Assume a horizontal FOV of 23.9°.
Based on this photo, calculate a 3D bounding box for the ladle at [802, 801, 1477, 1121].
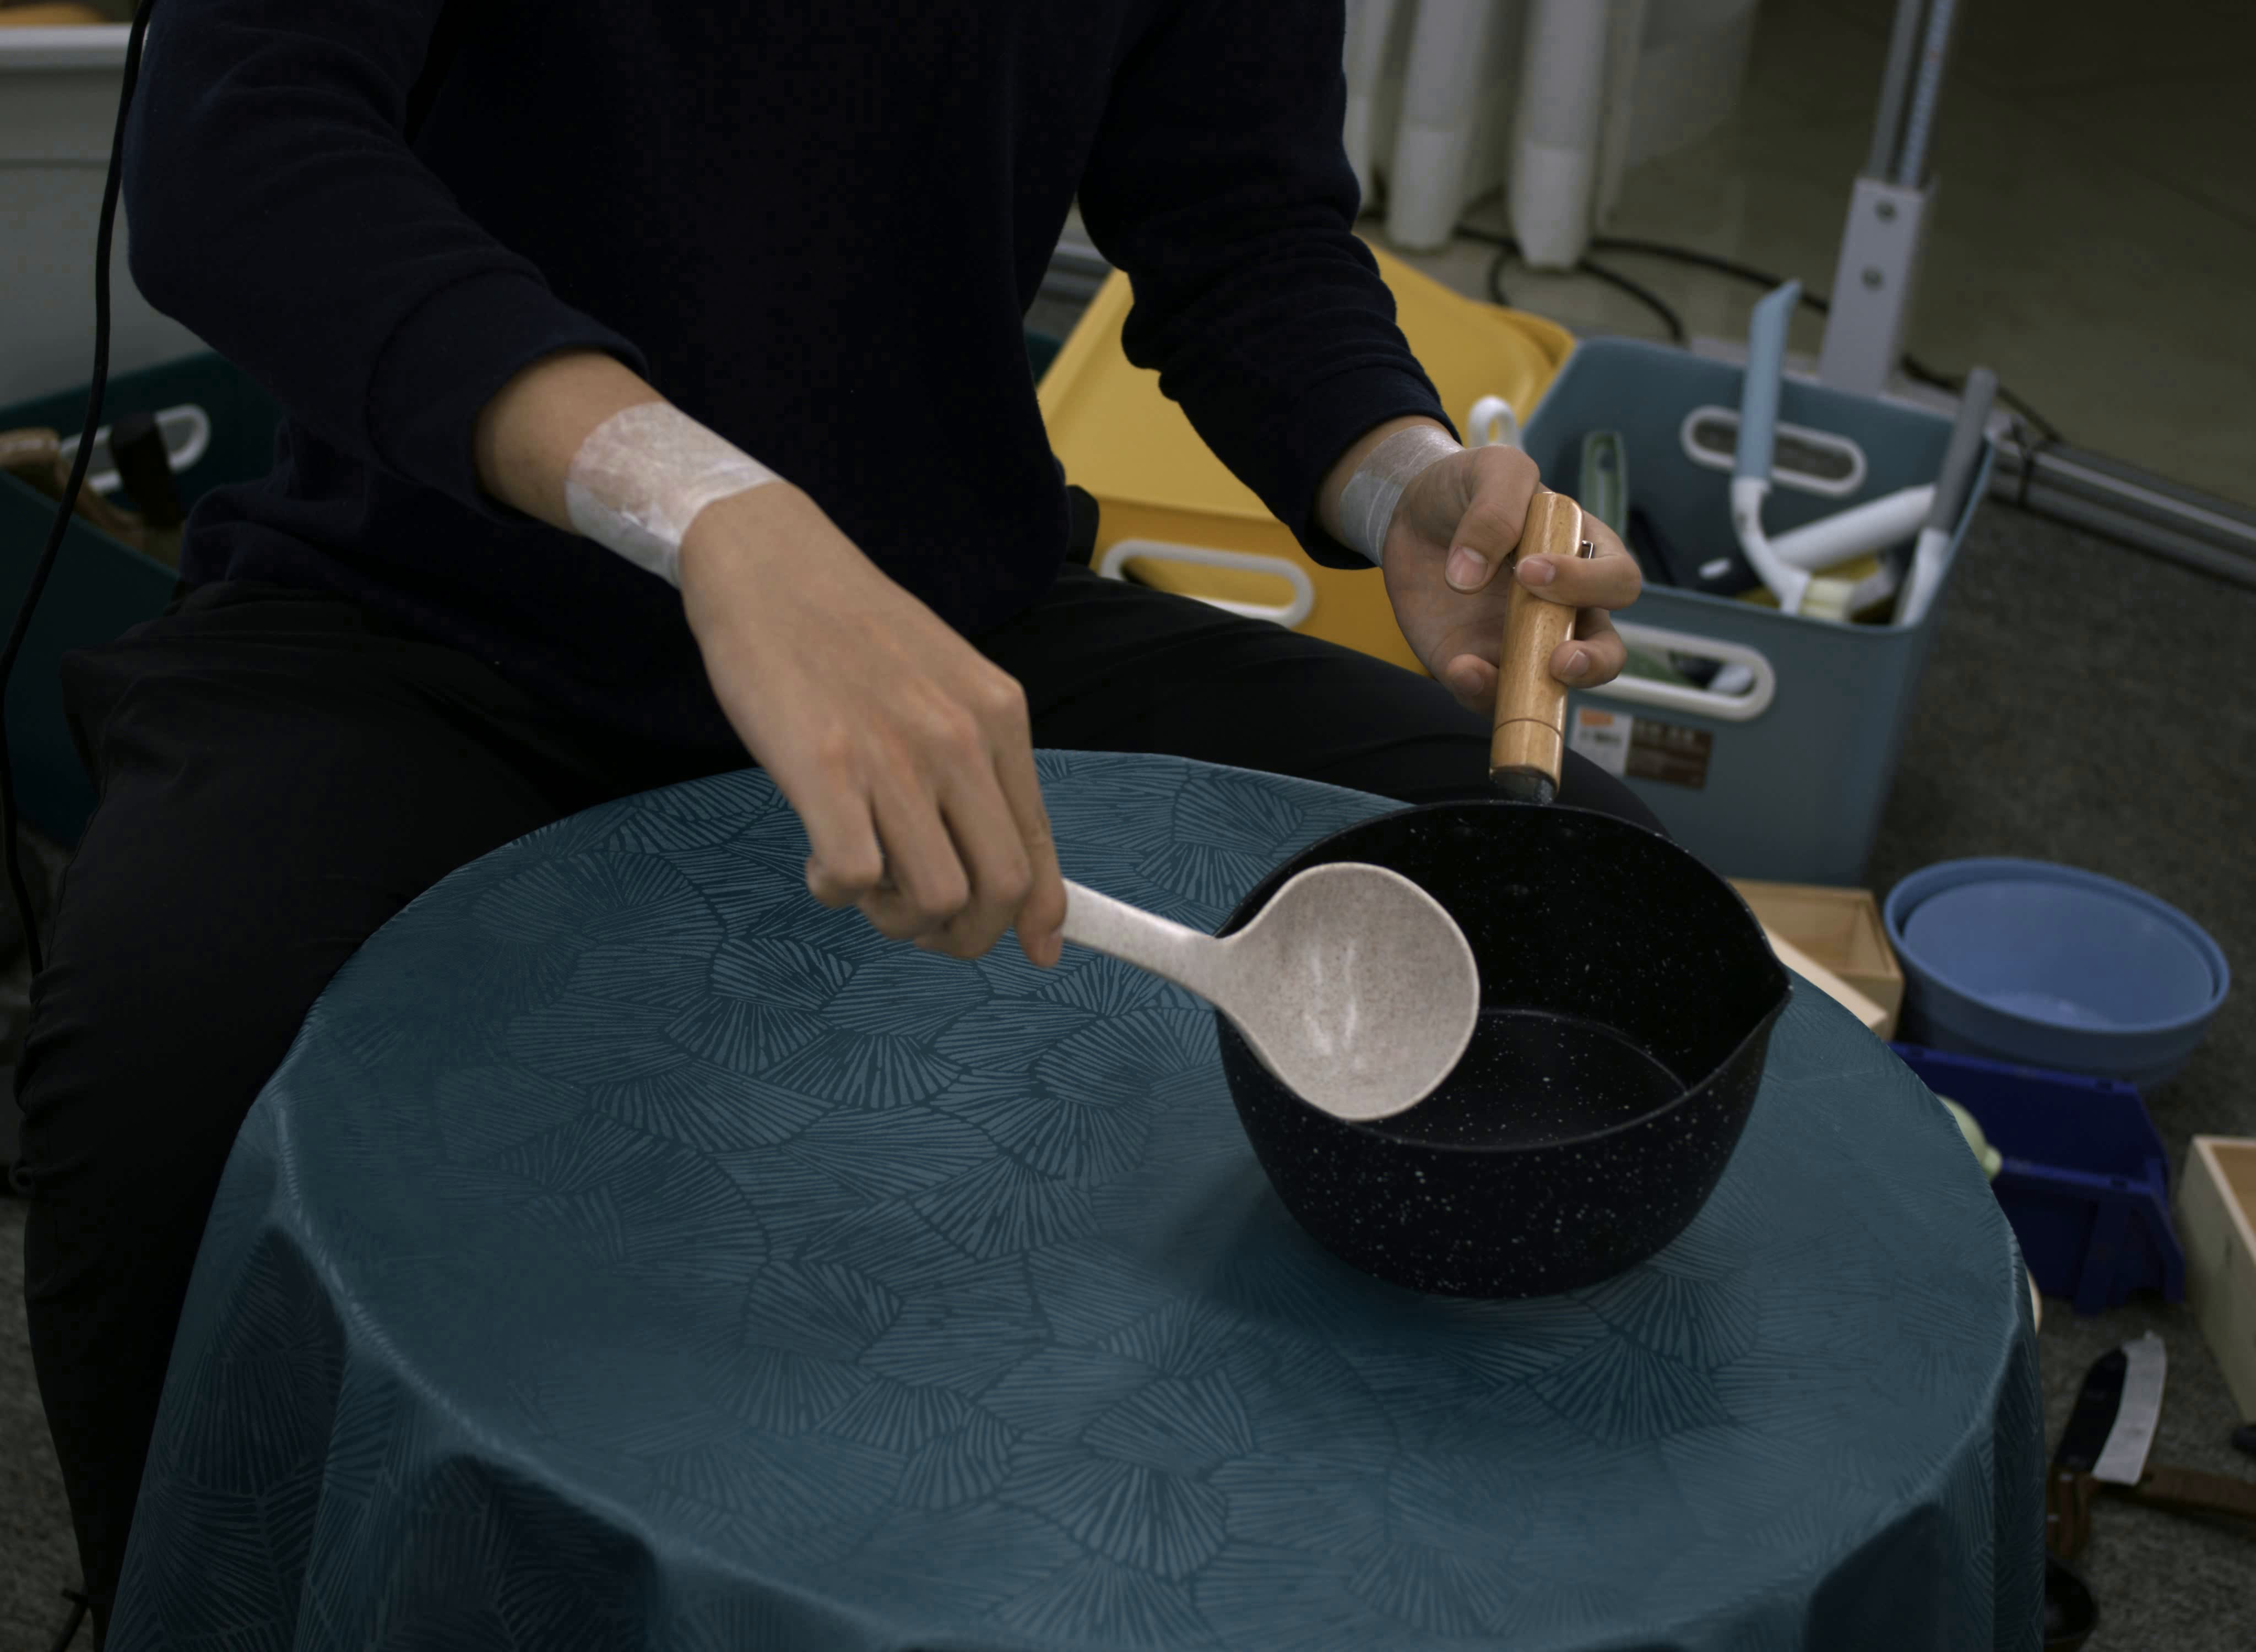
[{"bbox_3d":[0.010,0.028,1.662,0.069,0.090,0.272,-10,-20,35],"label":"ladle"}]

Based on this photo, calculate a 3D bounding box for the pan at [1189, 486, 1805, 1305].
[{"bbox_3d":[0.132,0.022,1.847,0.207,0.107,0.345,1,39,8],"label":"pan"}]
